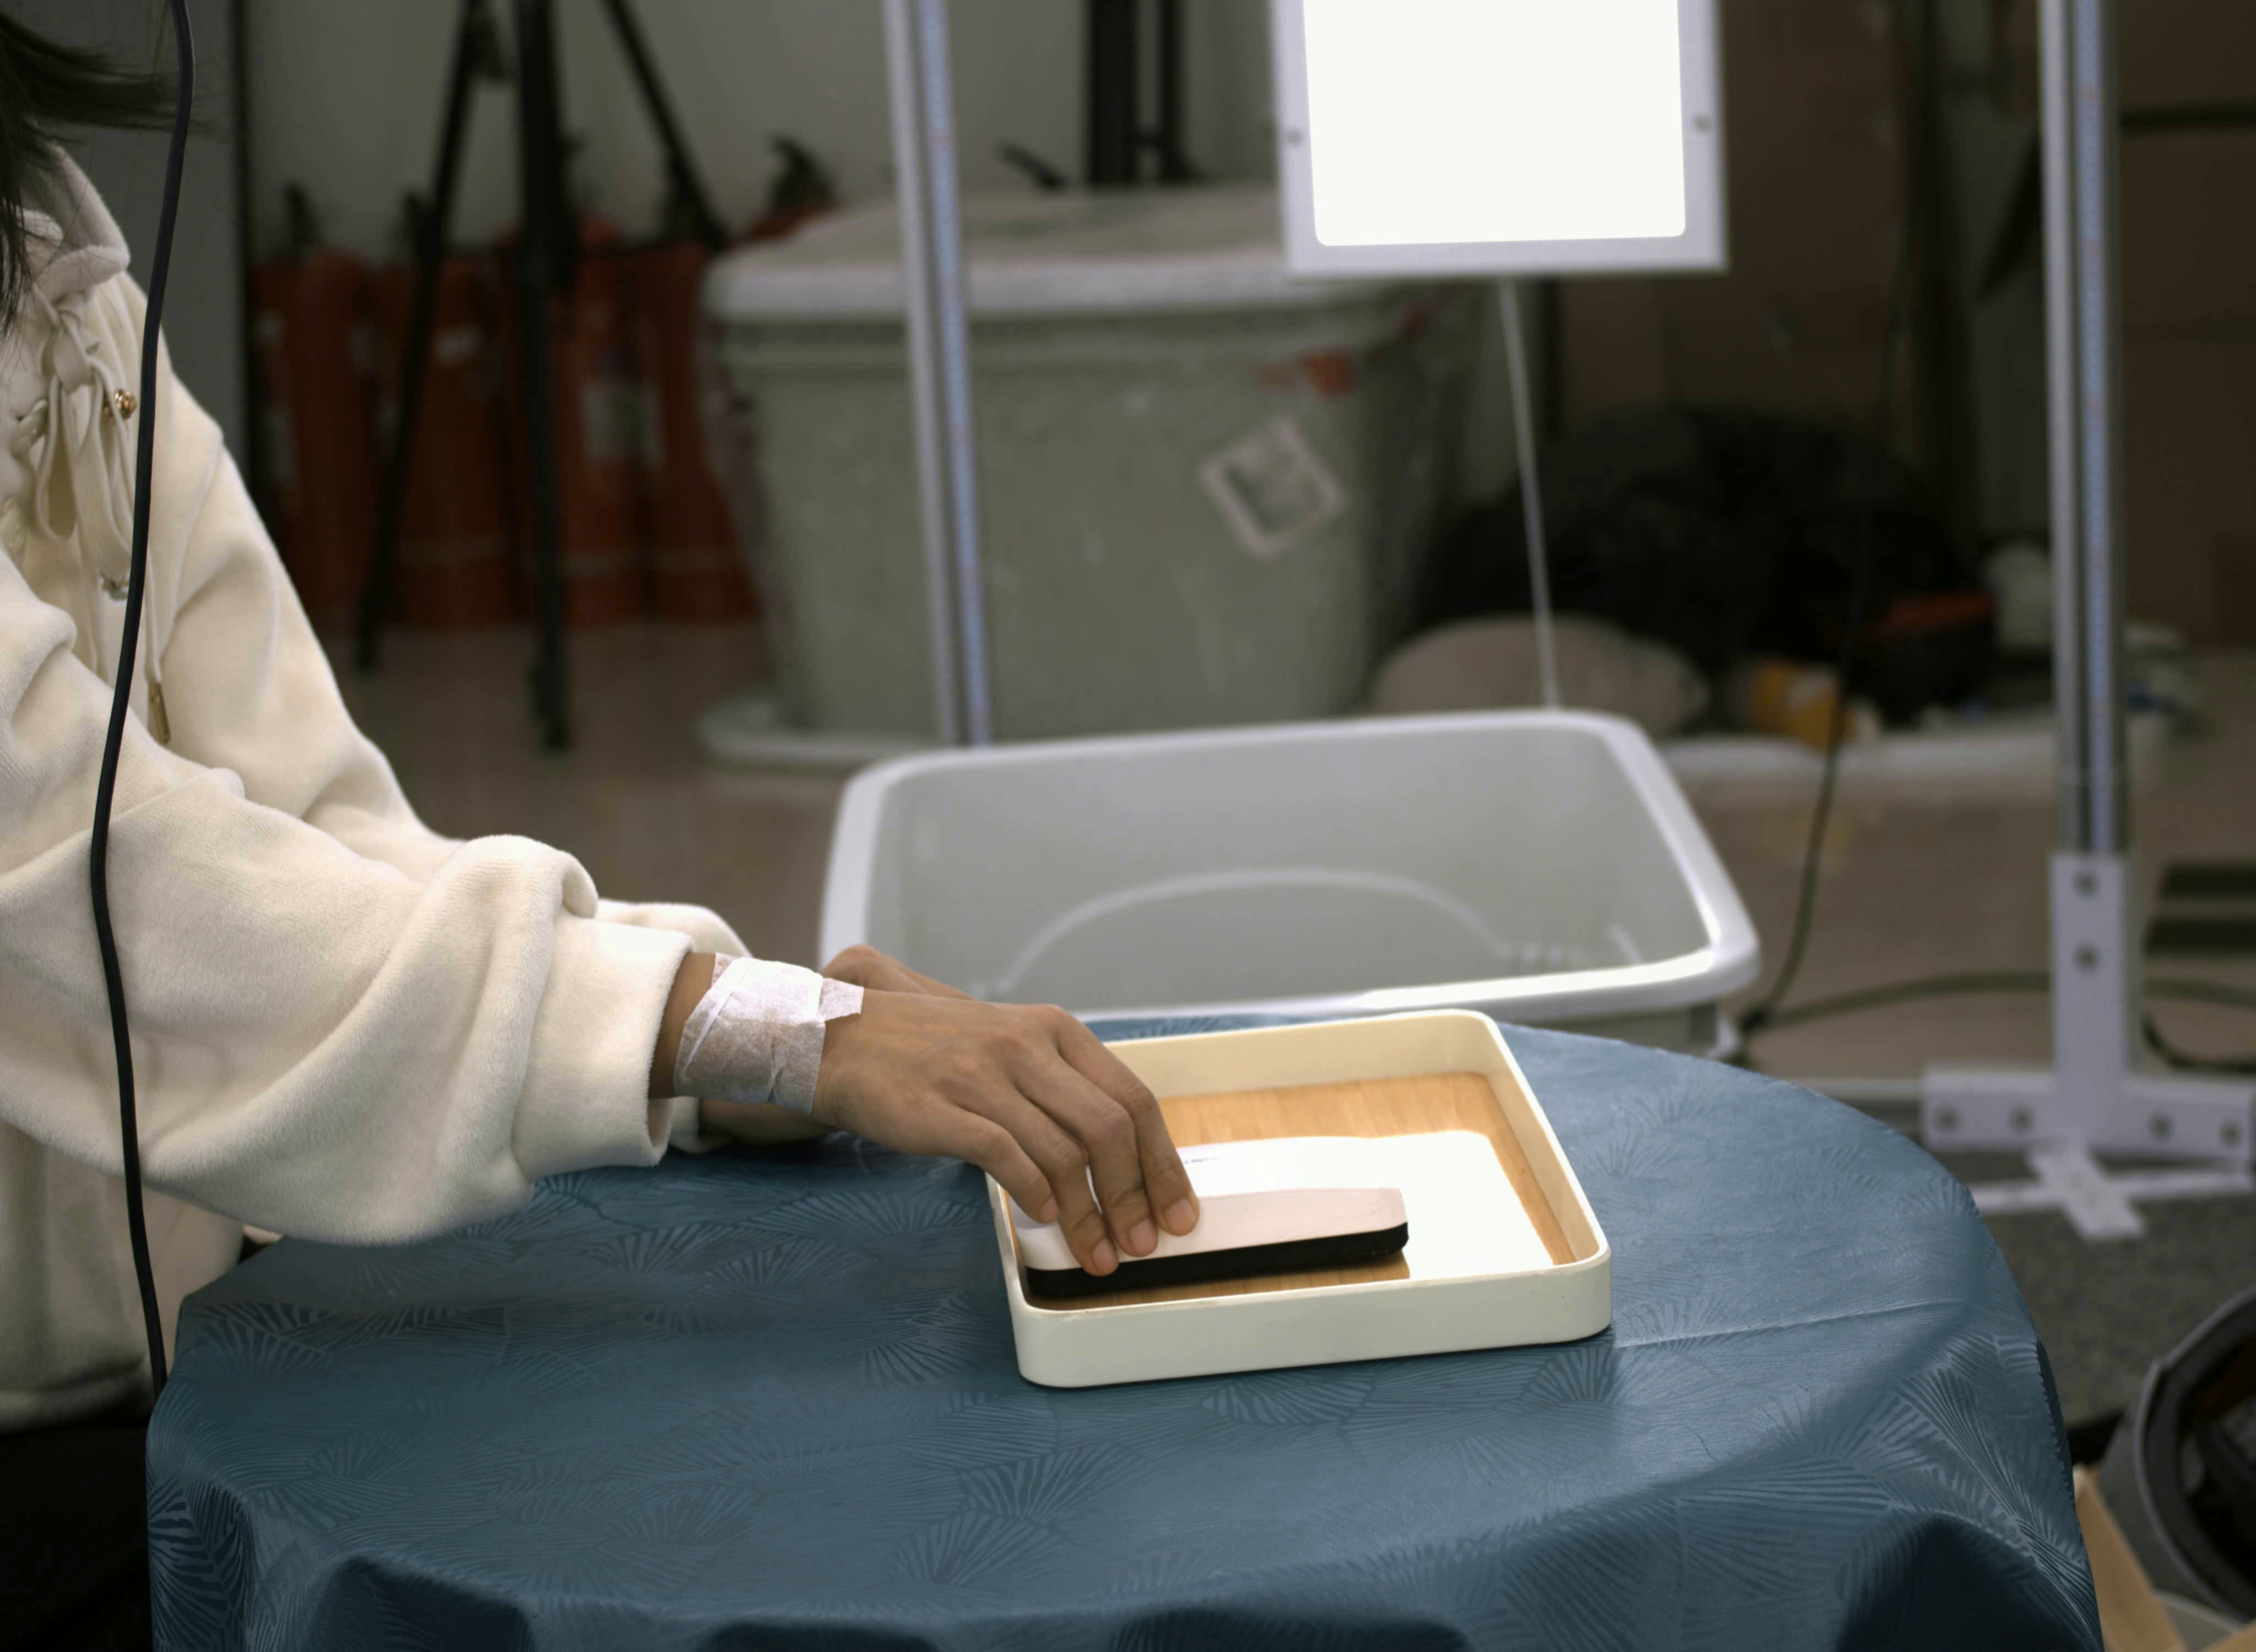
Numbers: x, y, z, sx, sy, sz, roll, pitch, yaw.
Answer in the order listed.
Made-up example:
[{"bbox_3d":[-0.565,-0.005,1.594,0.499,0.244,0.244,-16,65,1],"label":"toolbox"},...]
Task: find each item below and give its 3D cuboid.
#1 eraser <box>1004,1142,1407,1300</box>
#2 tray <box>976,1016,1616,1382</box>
[{"bbox_3d":[0.026,0.126,1.797,0.131,0.034,0.063,-6,12,0],"label":"eraser"},{"bbox_3d":[0.050,0.121,1.845,0.191,0.027,0.300,-5,14,-2],"label":"tray"}]
